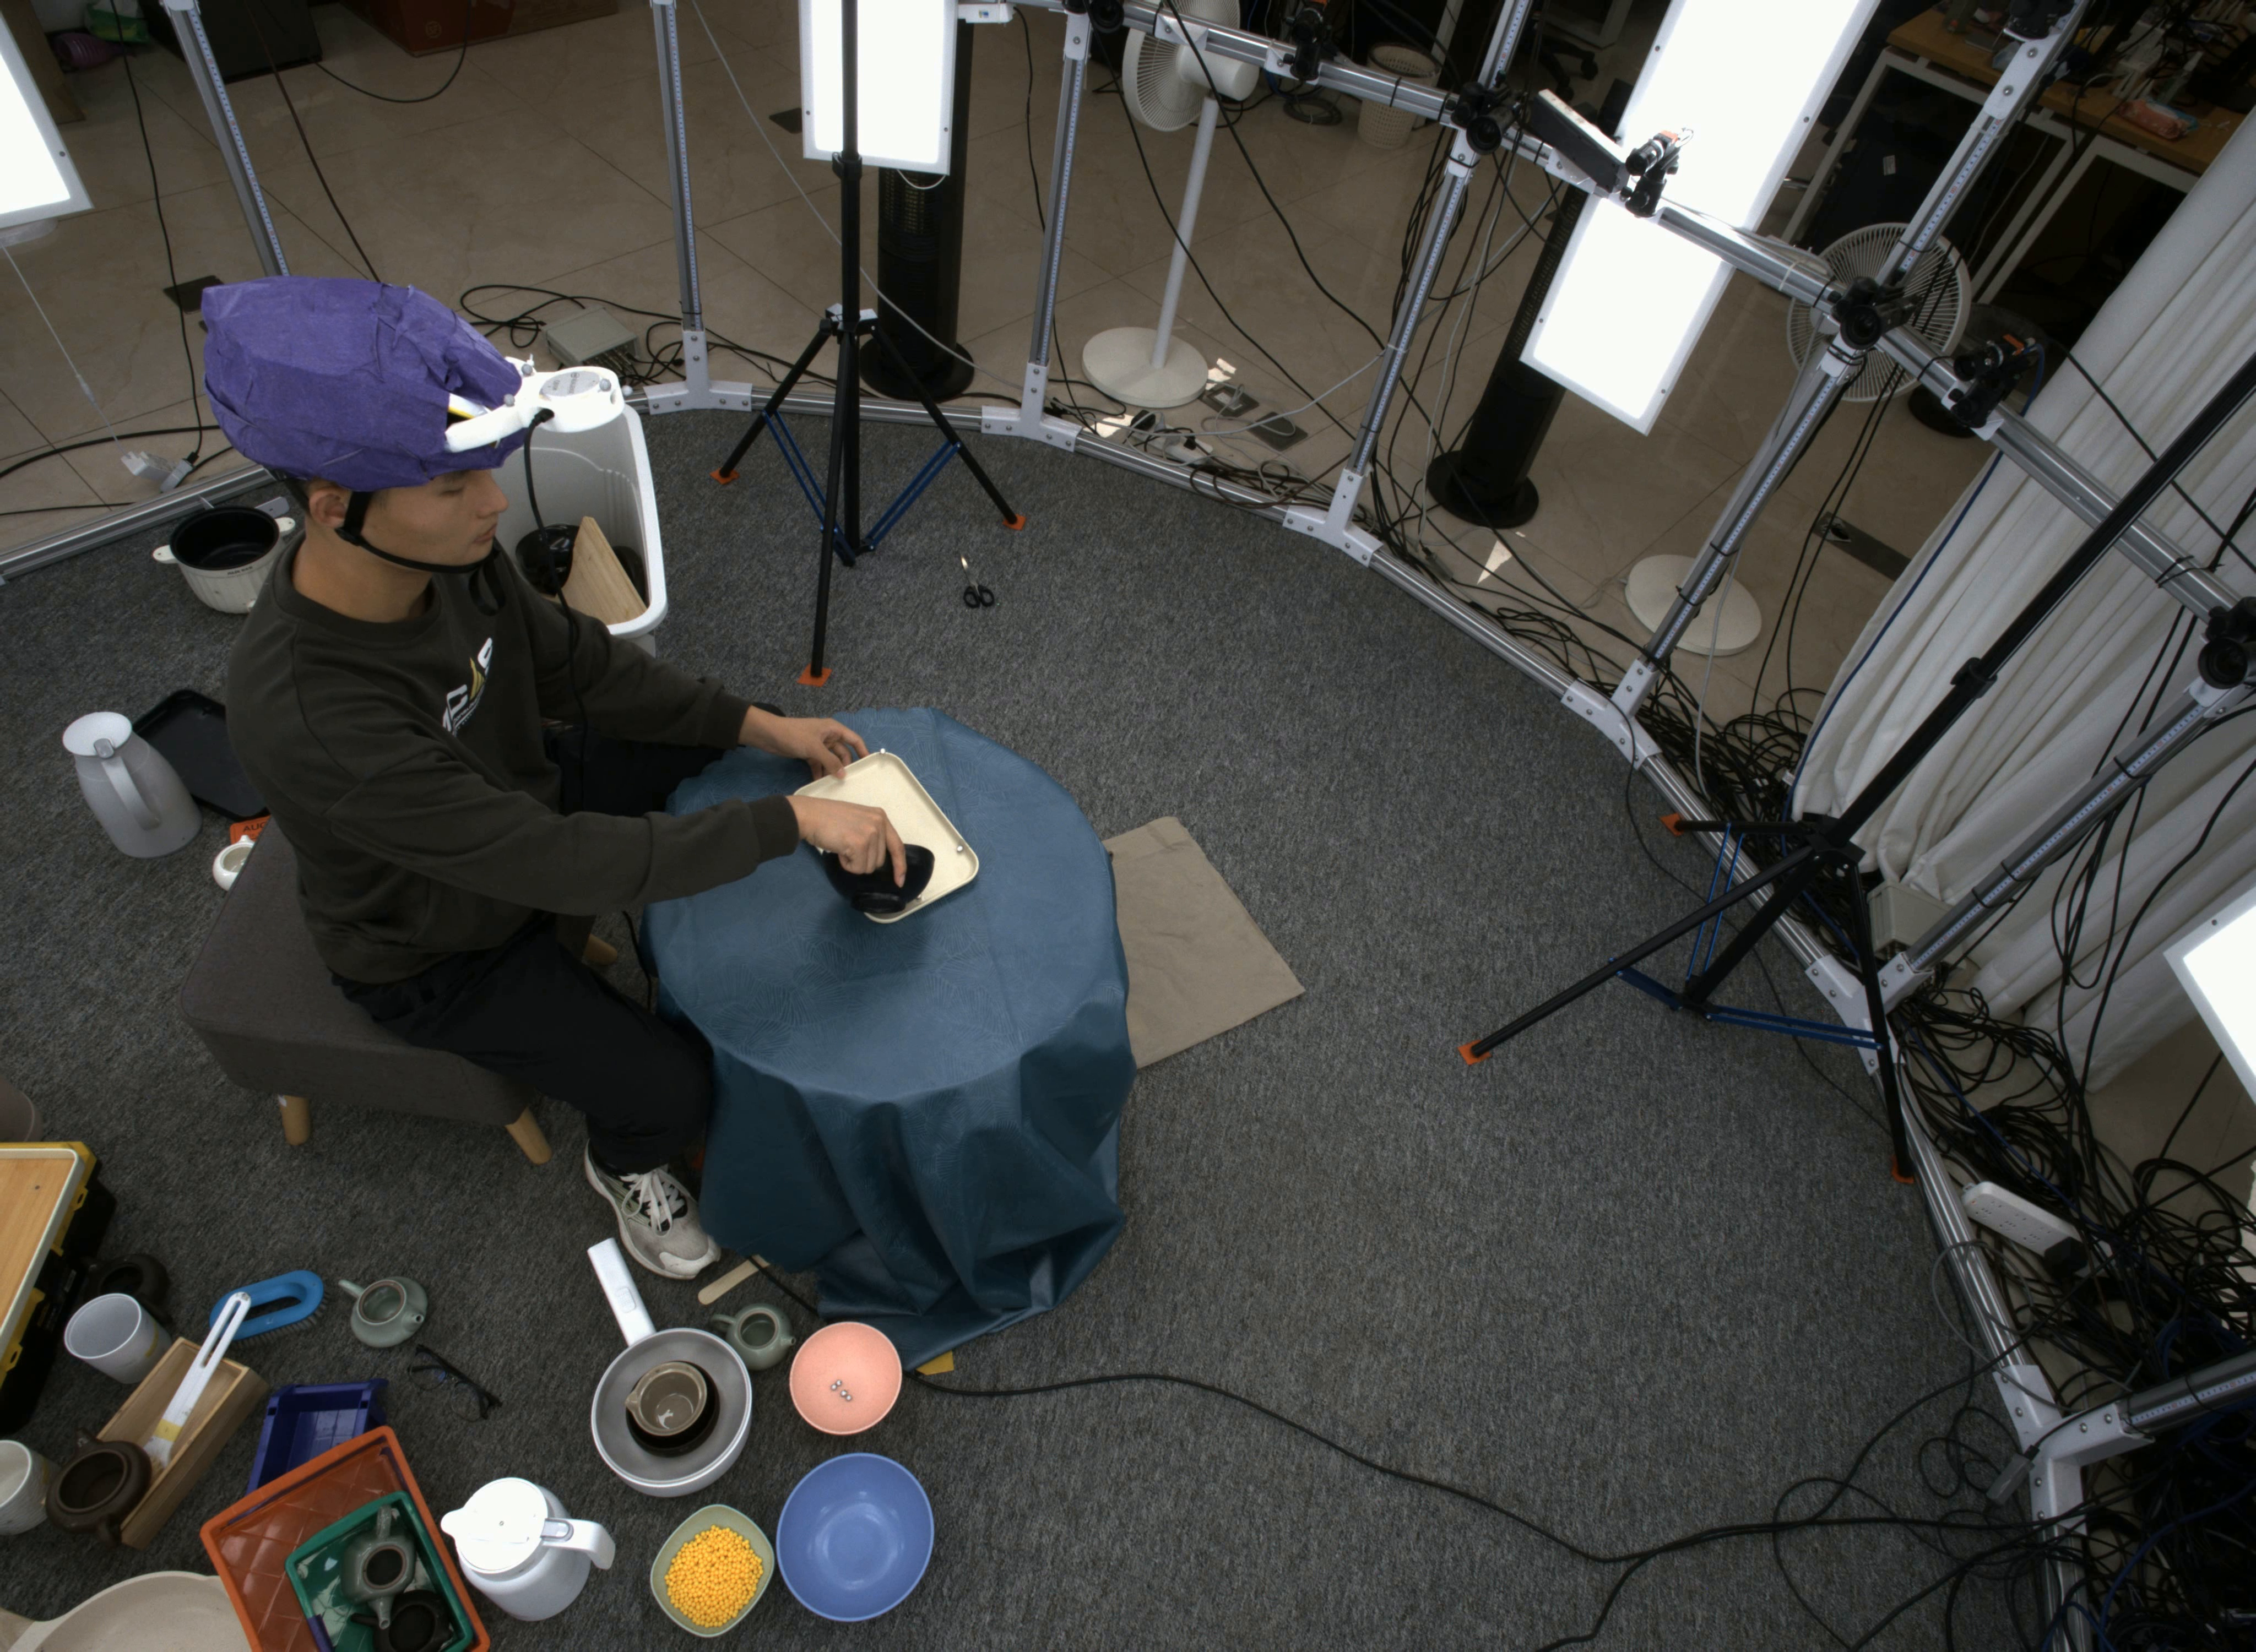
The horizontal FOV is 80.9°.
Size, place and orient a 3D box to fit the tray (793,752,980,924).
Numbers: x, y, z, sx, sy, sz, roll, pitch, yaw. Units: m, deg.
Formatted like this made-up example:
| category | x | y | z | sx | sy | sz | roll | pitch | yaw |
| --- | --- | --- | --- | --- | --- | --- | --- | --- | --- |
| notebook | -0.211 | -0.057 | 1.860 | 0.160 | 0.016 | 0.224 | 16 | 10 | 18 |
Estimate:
| category | x | y | z | sx | sy | sz | roll | pitch | yaw |
| --- | --- | --- | --- | --- | --- | --- | --- | --- | --- |
| tray | -0.322 | 0.014 | 1.730 | 0.172 | 0.018 | 0.235 | -30 | 69 | -27 |

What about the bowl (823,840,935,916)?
| category | x | y | z | sx | sy | sz | roll | pitch | yaw |
| --- | --- | --- | --- | --- | --- | --- | --- | --- | --- |
| bowl | -0.309 | 0.069 | 1.608 | 0.136 | 0.172 | 0.066 | 1 | 70 | -6 |
